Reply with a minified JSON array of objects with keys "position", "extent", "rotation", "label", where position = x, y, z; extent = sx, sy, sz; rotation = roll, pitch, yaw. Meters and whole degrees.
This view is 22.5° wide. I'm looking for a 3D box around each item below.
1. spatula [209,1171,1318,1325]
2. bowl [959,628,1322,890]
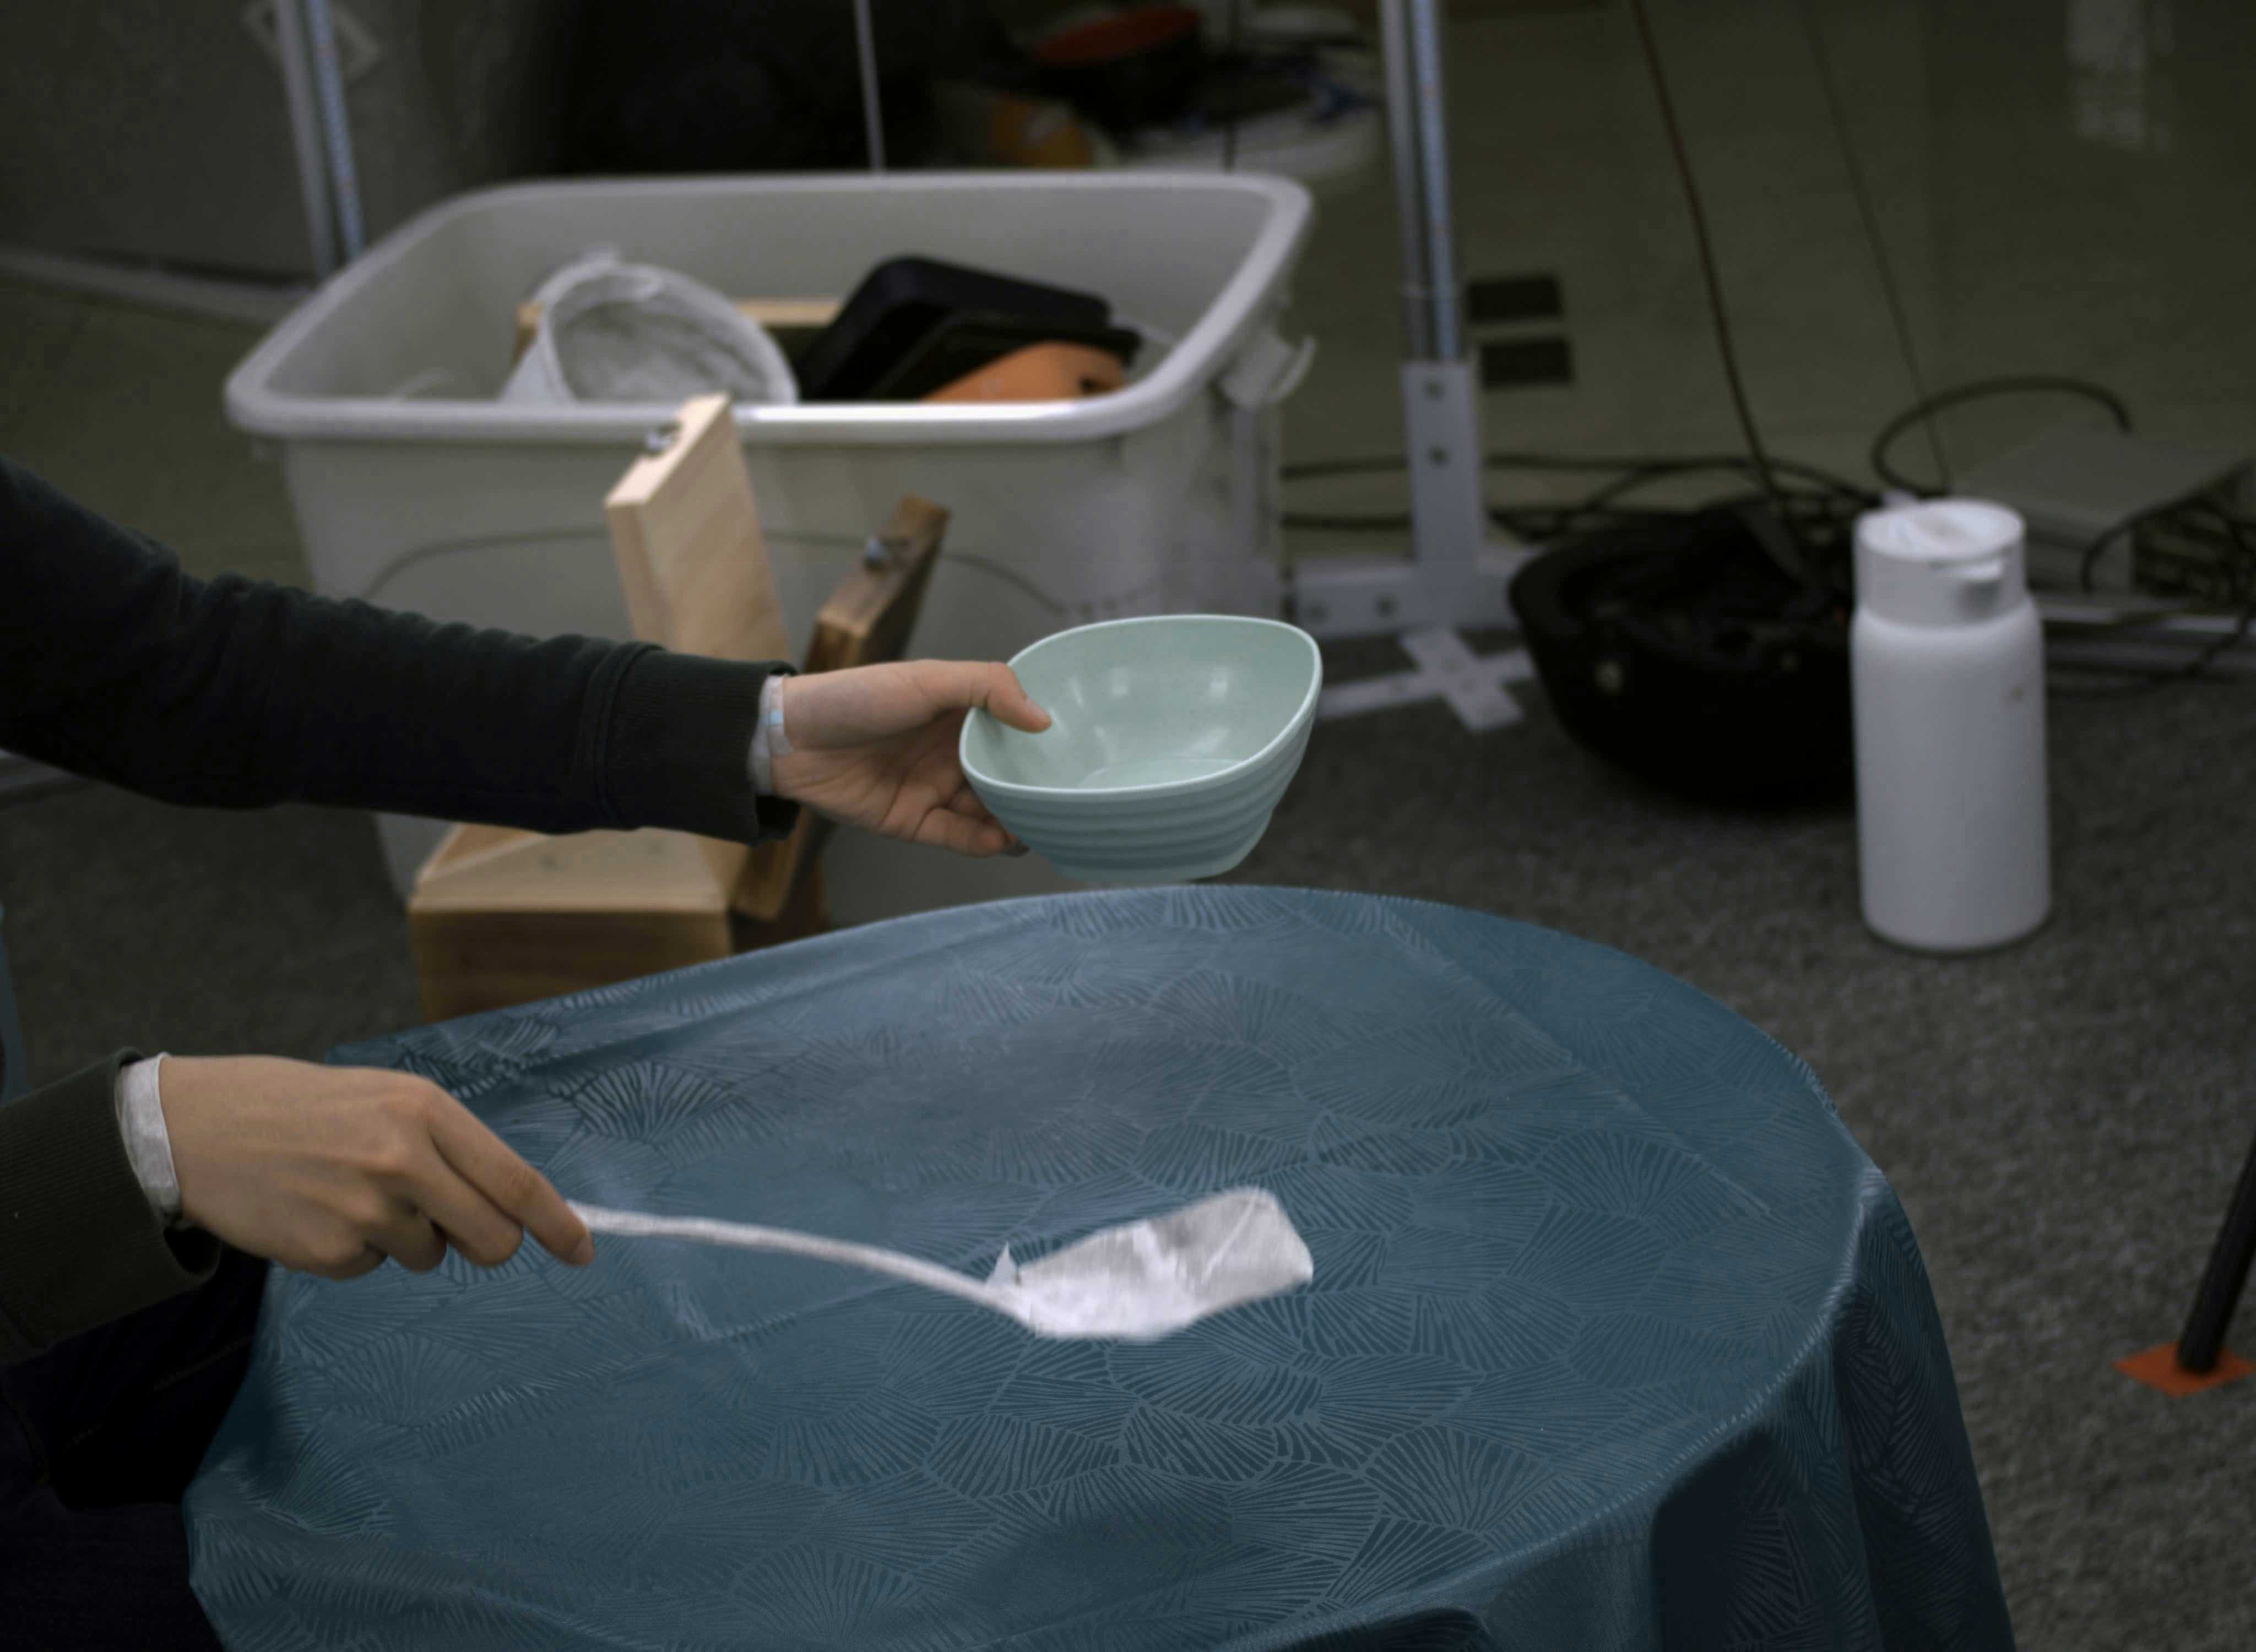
[{"position":[-0.119,0.129,1.873],"extent":[0.365,0.045,0.097],"rotation":[7,17,-10],"label":"spatula"},{"position":[0.009,-0.021,2.198],"extent":[0.151,0.059,0.149],"rotation":[-9,28,5],"label":"bowl"}]
